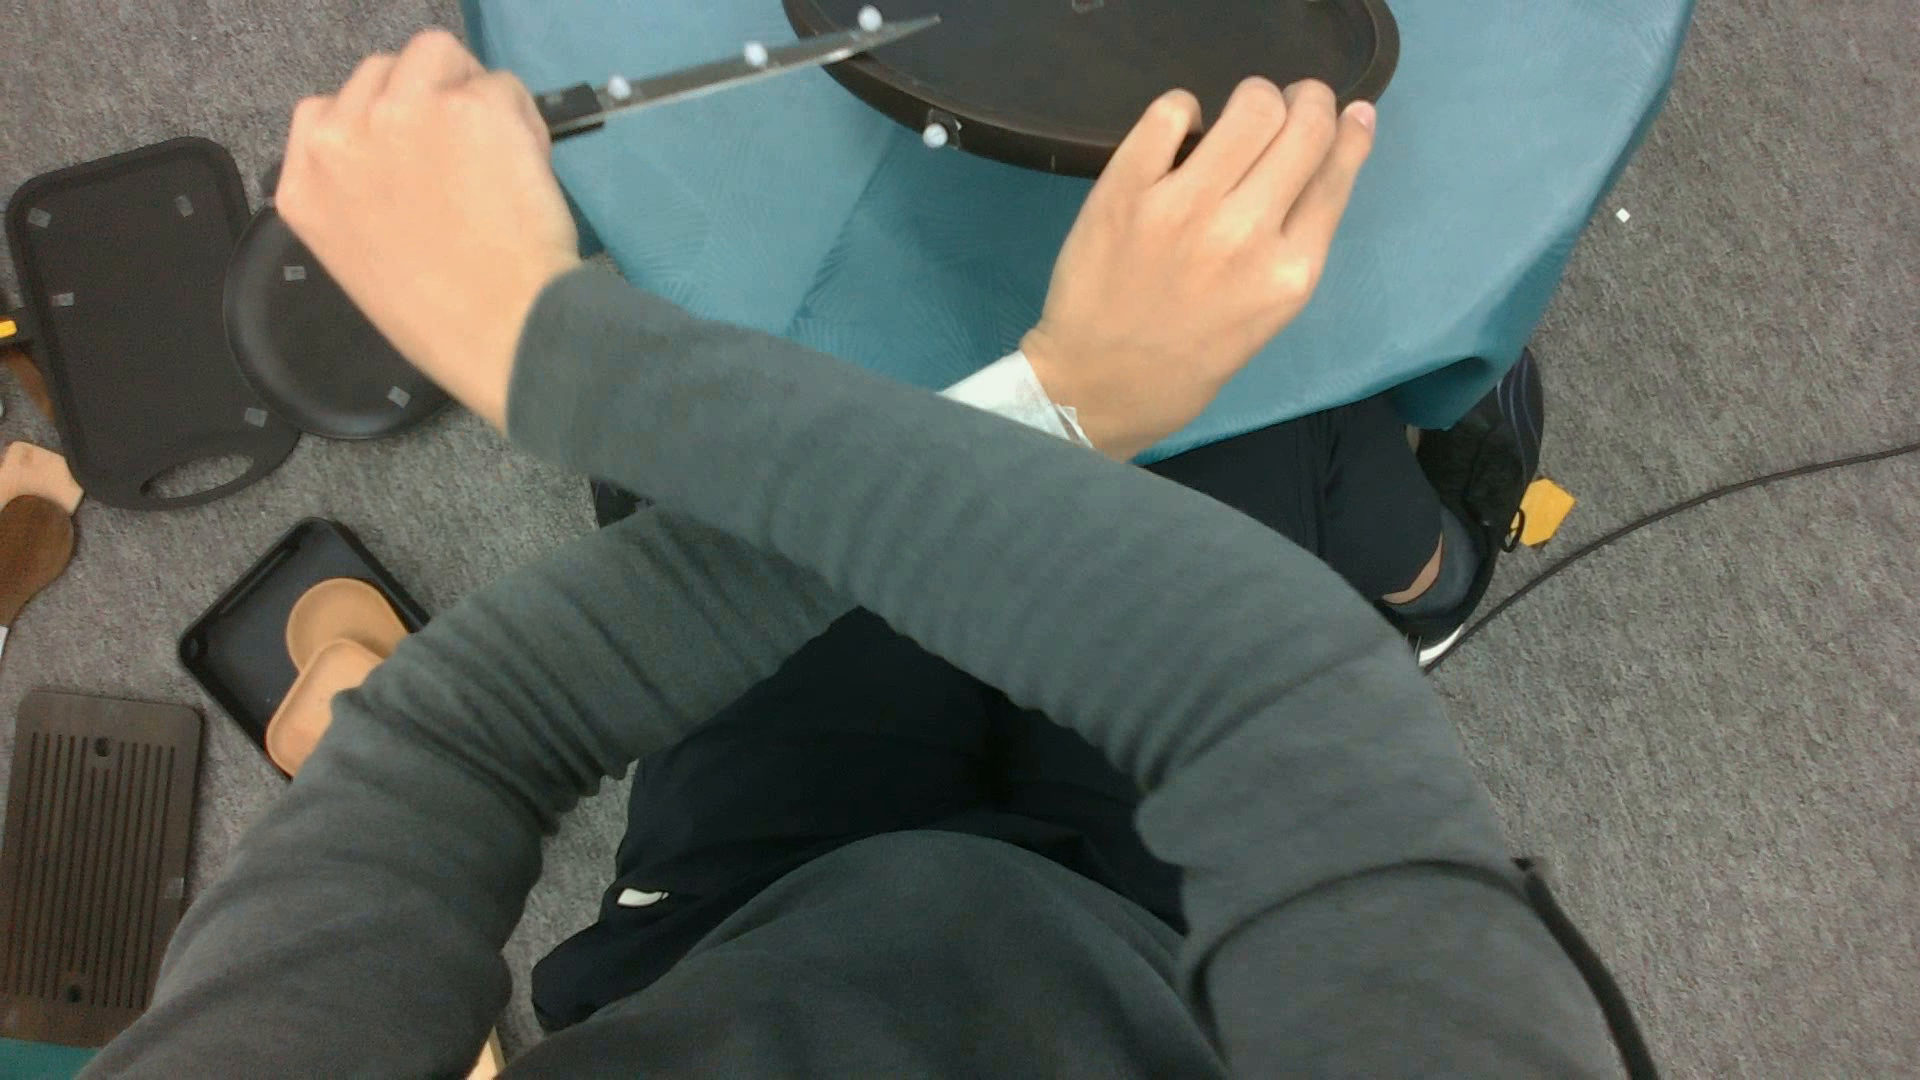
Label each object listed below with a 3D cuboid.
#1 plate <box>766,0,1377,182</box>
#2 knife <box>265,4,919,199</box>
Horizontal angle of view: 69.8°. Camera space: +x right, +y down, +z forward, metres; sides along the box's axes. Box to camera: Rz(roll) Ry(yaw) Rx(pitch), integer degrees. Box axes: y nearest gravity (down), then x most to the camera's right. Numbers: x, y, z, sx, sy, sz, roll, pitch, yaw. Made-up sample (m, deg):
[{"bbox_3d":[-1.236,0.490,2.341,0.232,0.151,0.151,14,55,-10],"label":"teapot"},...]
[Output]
[{"bbox_3d":[0.046,-0.222,0.572,0.255,0.029,0.256,4,45,-3],"label":"plate"},{"bbox_3d":[-0.124,-0.160,0.489,0.238,0.024,0.016,-20,130,-12],"label":"knife"}]
